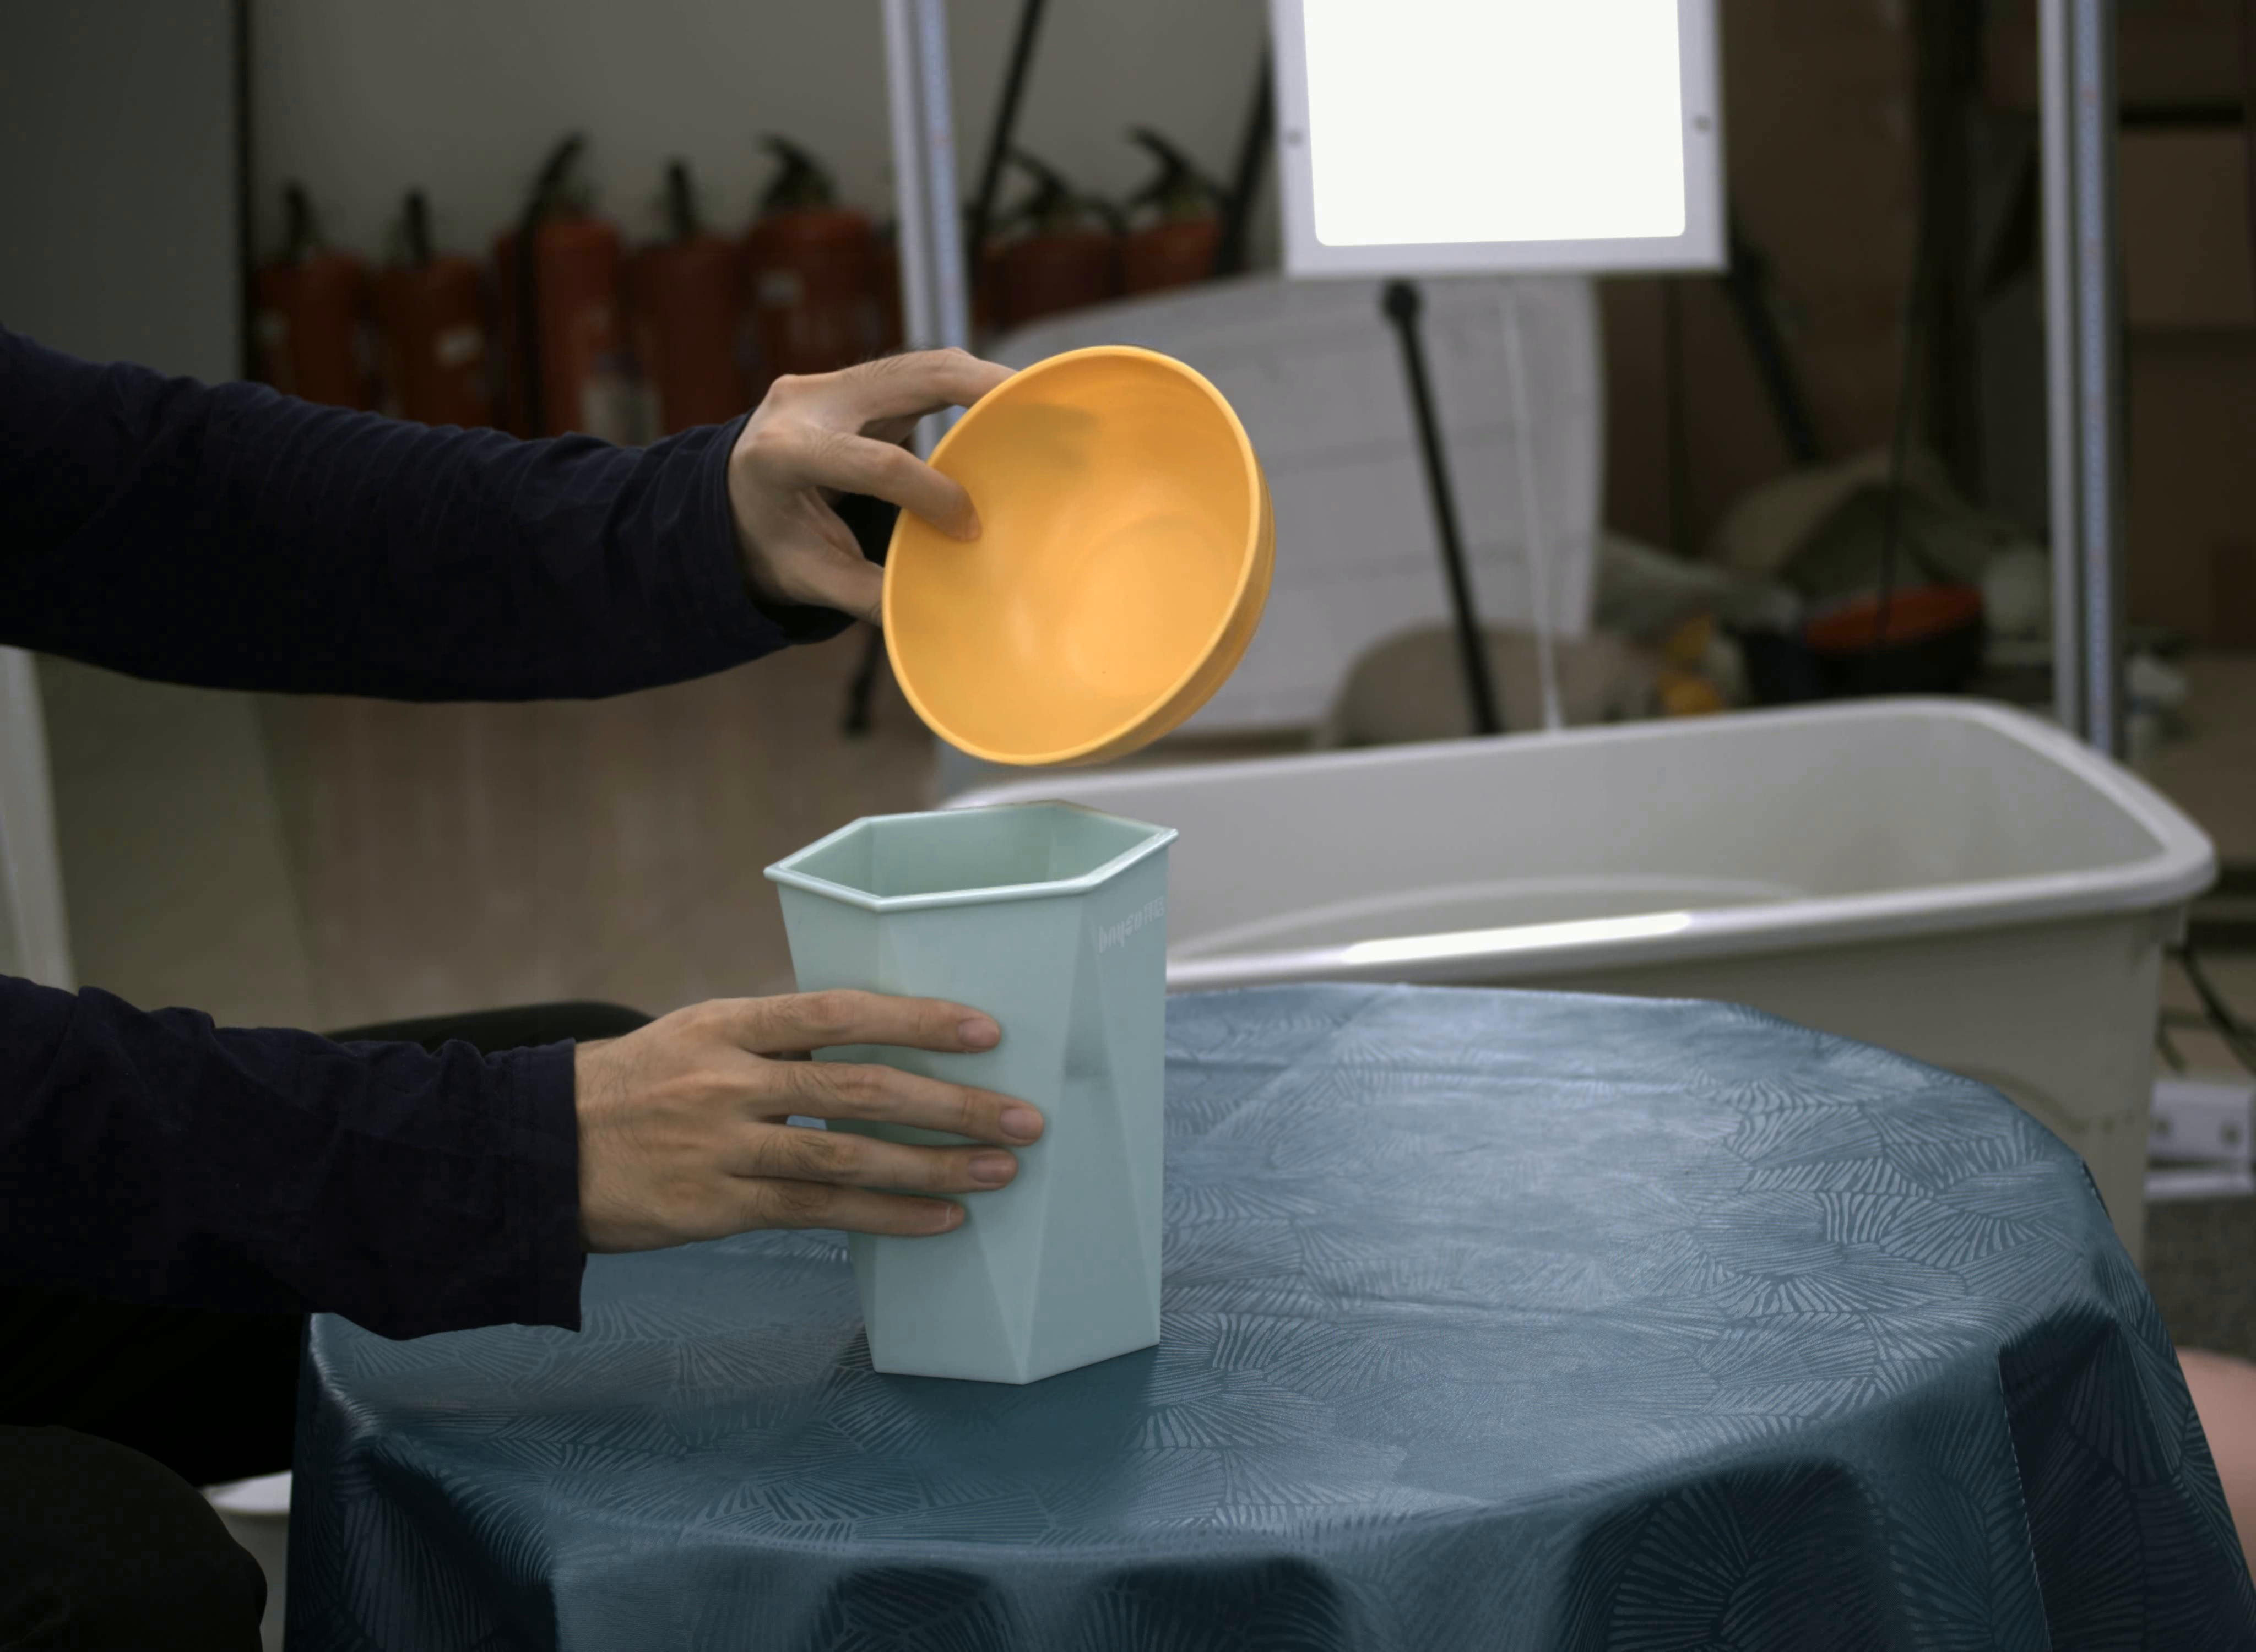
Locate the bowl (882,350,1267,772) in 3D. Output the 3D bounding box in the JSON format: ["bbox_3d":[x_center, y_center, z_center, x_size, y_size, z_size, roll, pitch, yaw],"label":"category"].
[{"bbox_3d":[-0.006,-0.078,1.797,0.148,0.145,0.059,7,-14,40],"label":"bowl"}]

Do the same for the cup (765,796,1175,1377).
[{"bbox_3d":[-0.042,0.082,1.747,0.117,0.163,0.128,1,14,26],"label":"cup"}]
